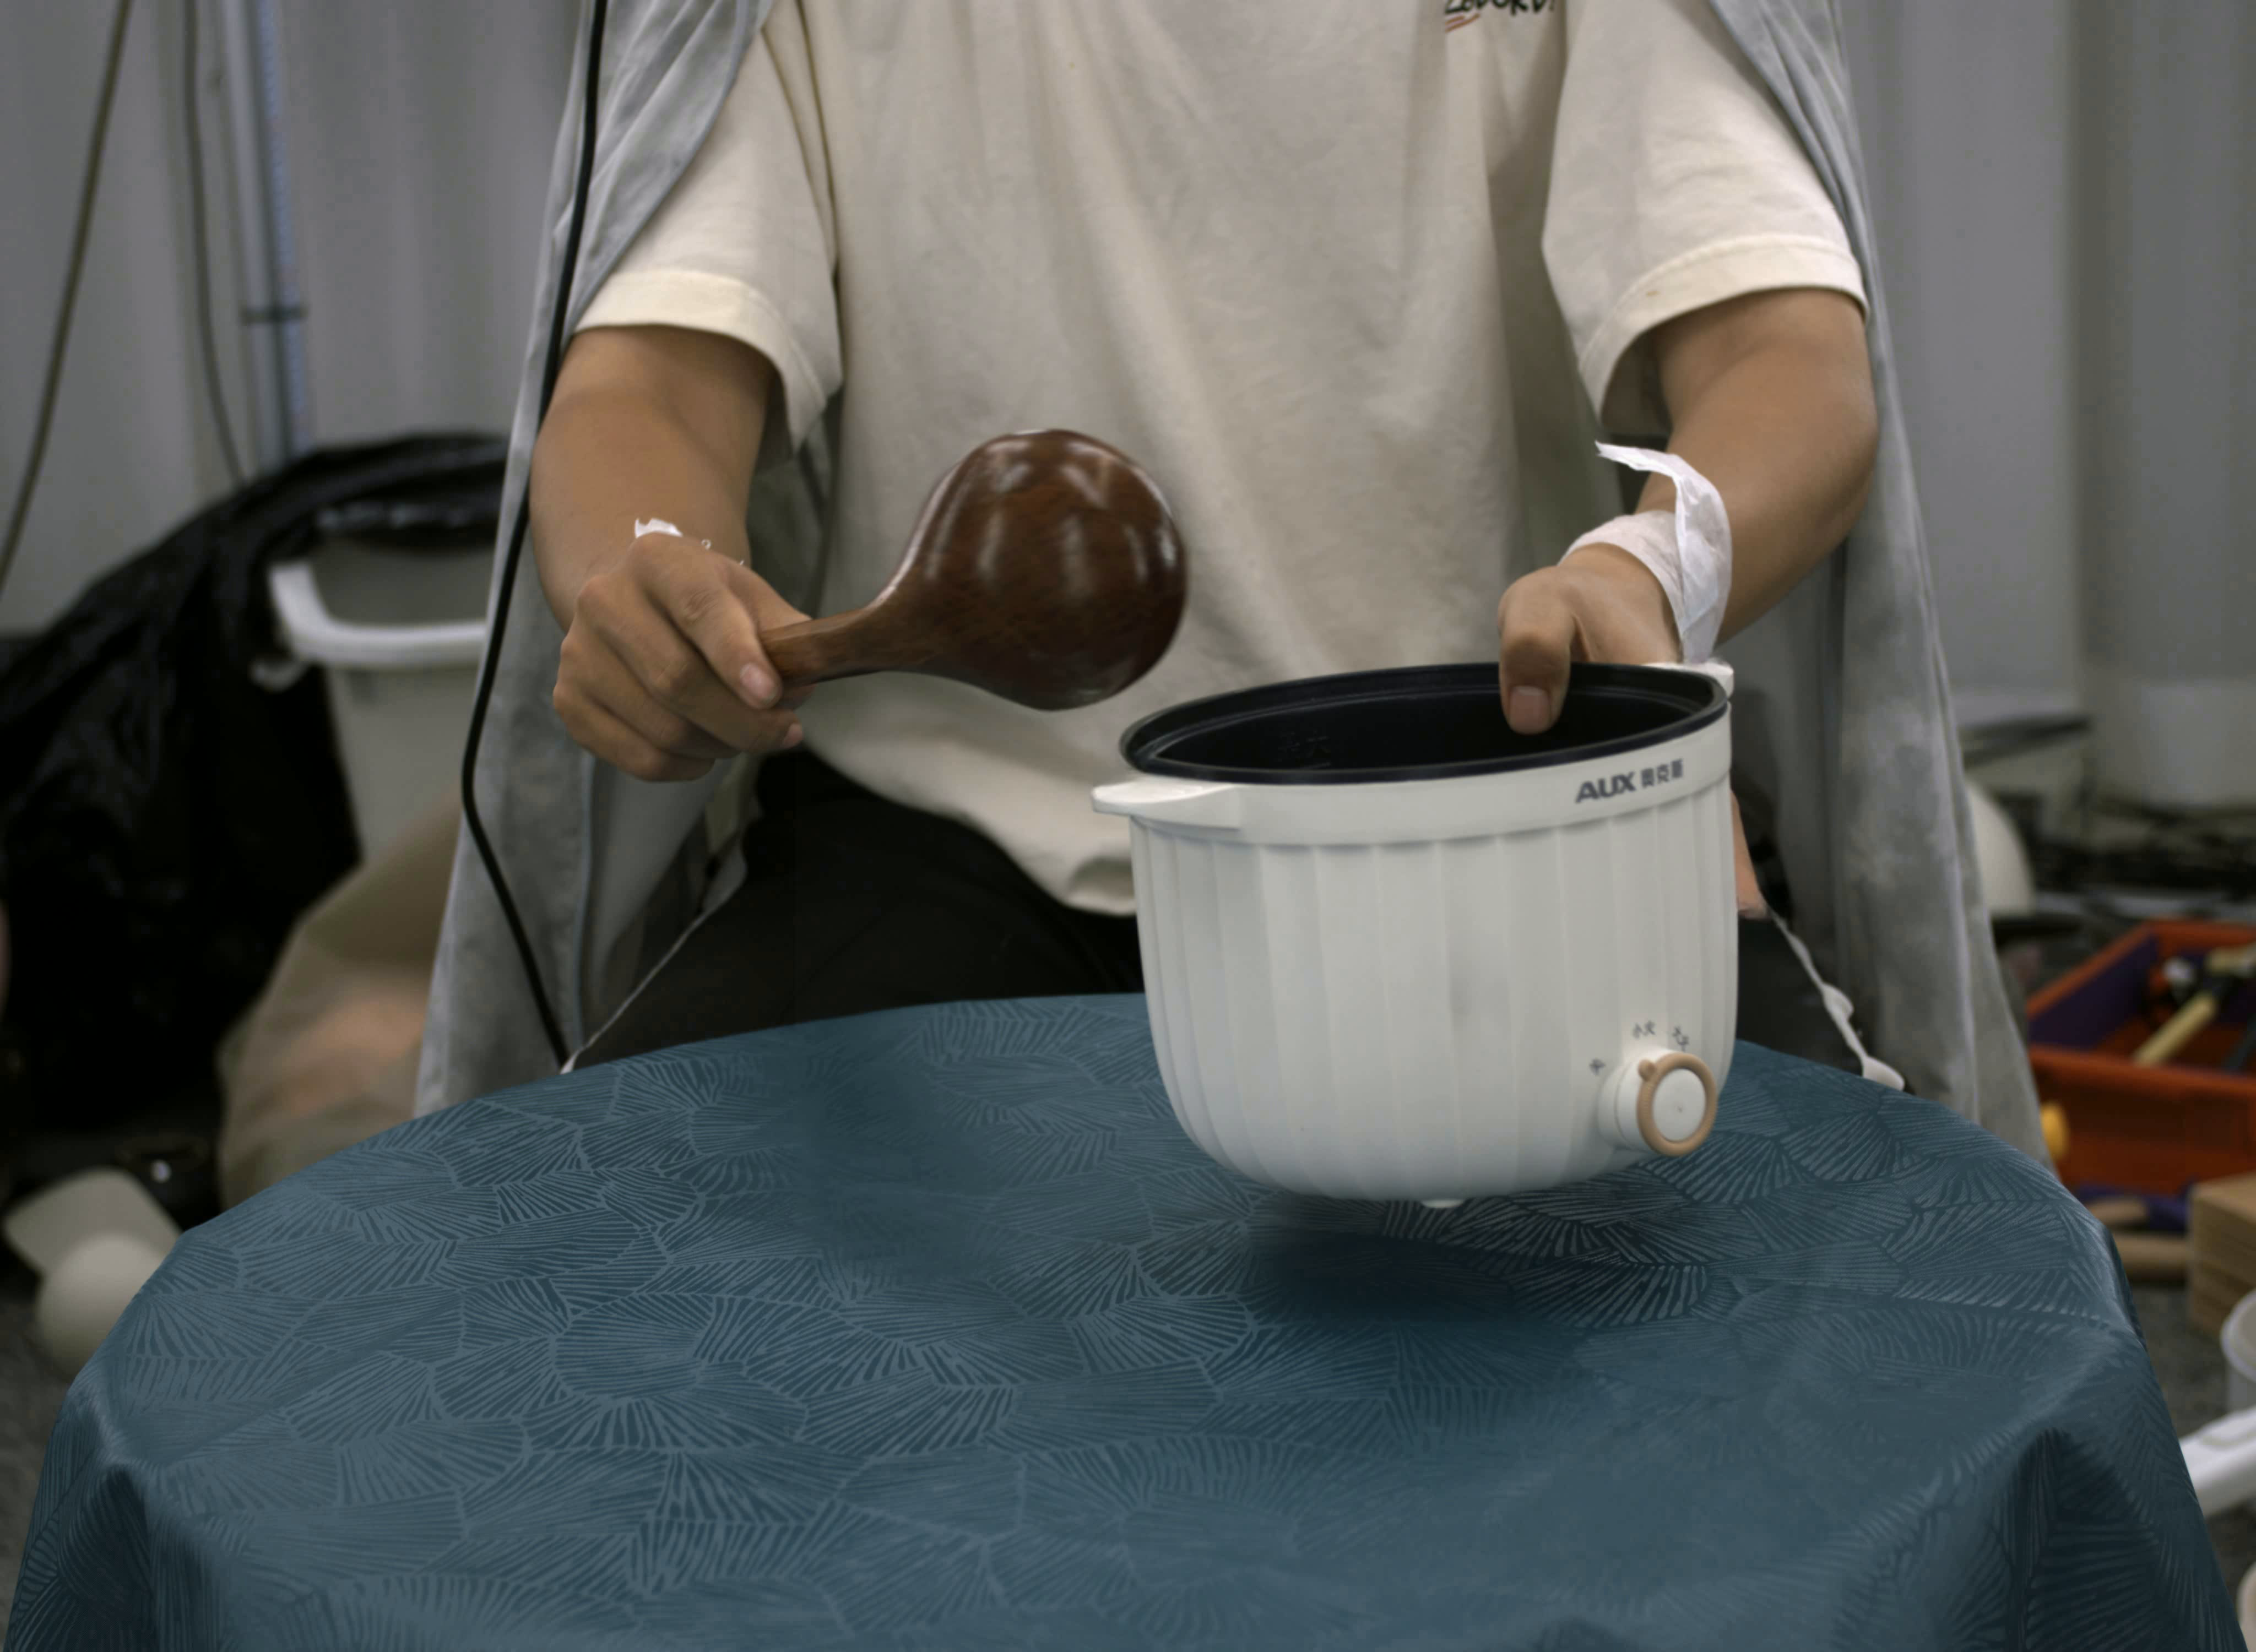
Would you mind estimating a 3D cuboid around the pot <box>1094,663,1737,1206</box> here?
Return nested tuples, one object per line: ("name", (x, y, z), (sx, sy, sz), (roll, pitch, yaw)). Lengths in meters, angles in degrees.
("pot", (0.097, 0.032, 1.632), (0.239, 0.142, 0.191), (-14, 10, -37))

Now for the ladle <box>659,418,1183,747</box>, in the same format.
("ladle", (-0.066, -0.065, 1.654), (0.076, 0.082, 0.274), (-21, 3, -23))
